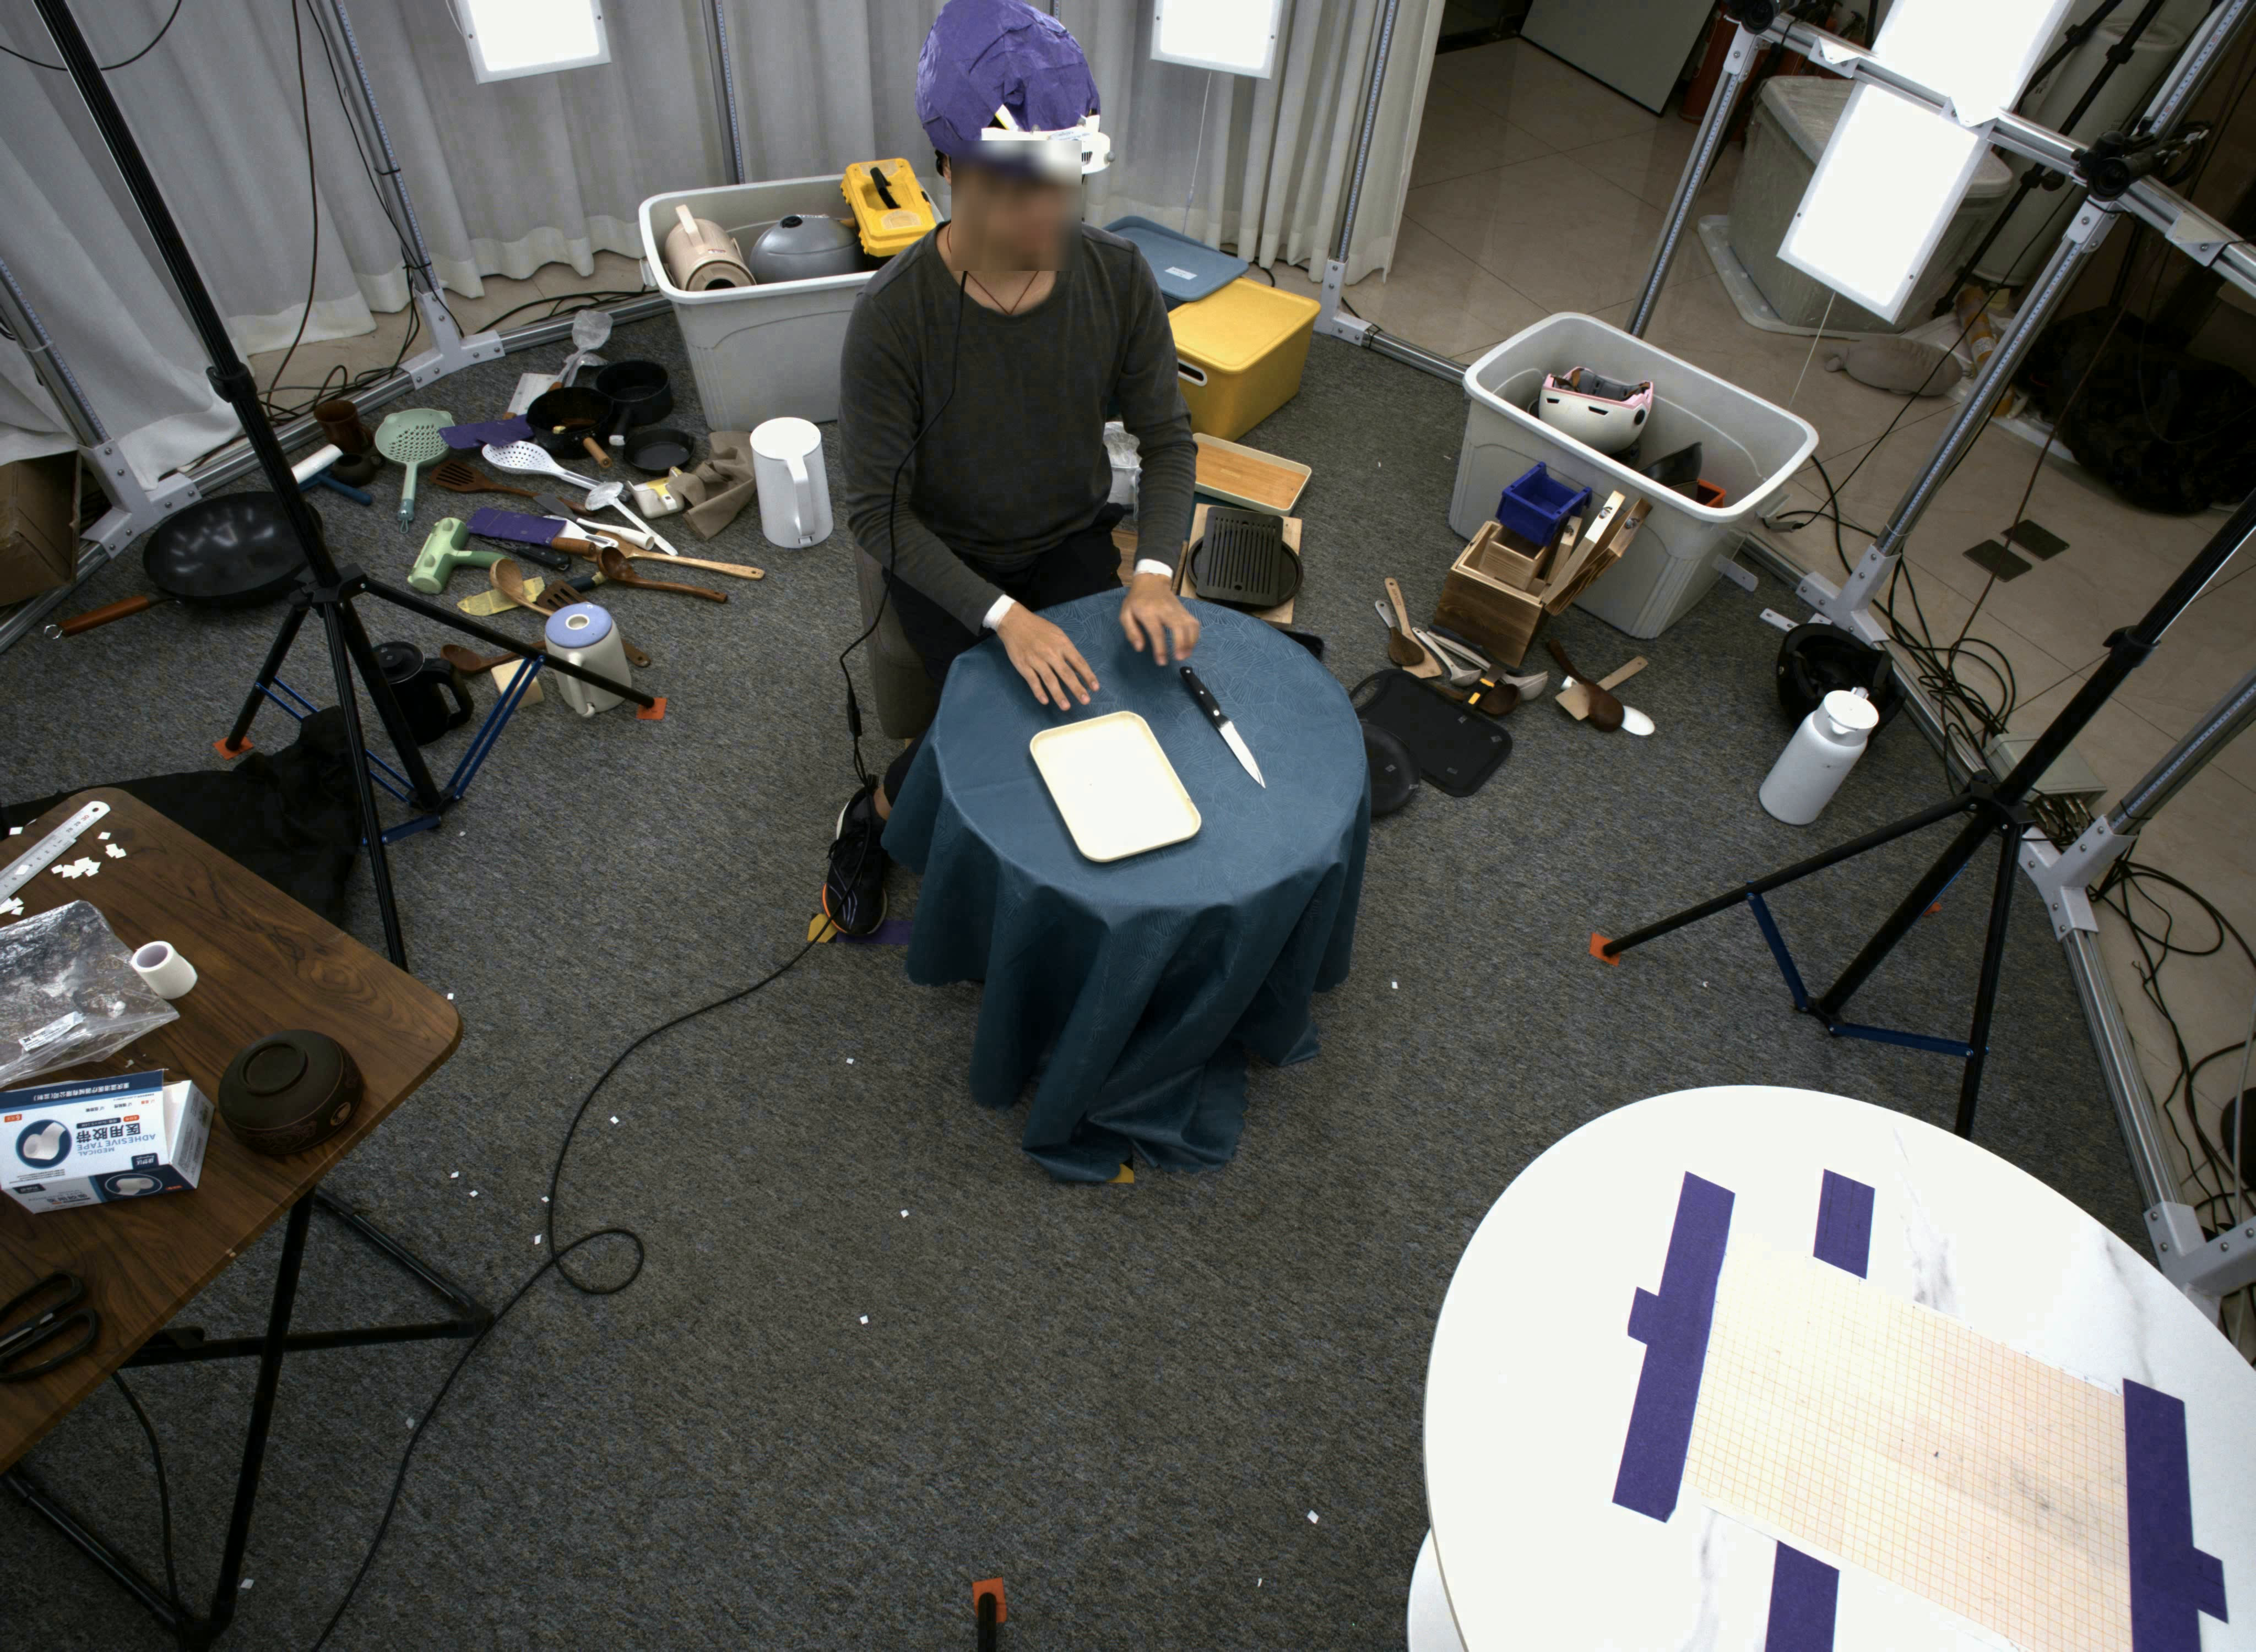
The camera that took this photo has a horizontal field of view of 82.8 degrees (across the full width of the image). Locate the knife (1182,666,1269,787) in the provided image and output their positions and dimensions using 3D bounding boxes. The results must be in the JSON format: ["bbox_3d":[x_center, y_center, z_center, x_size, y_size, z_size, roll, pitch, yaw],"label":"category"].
[{"bbox_3d":[0.134,-0.139,1.790,0.024,0.016,0.243,-20,56,-16],"label":"knife"}]

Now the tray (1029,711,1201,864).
[{"bbox_3d":[-0.020,-0.054,1.701,0.171,0.017,0.245,-15,52,-16],"label":"tray"}]
